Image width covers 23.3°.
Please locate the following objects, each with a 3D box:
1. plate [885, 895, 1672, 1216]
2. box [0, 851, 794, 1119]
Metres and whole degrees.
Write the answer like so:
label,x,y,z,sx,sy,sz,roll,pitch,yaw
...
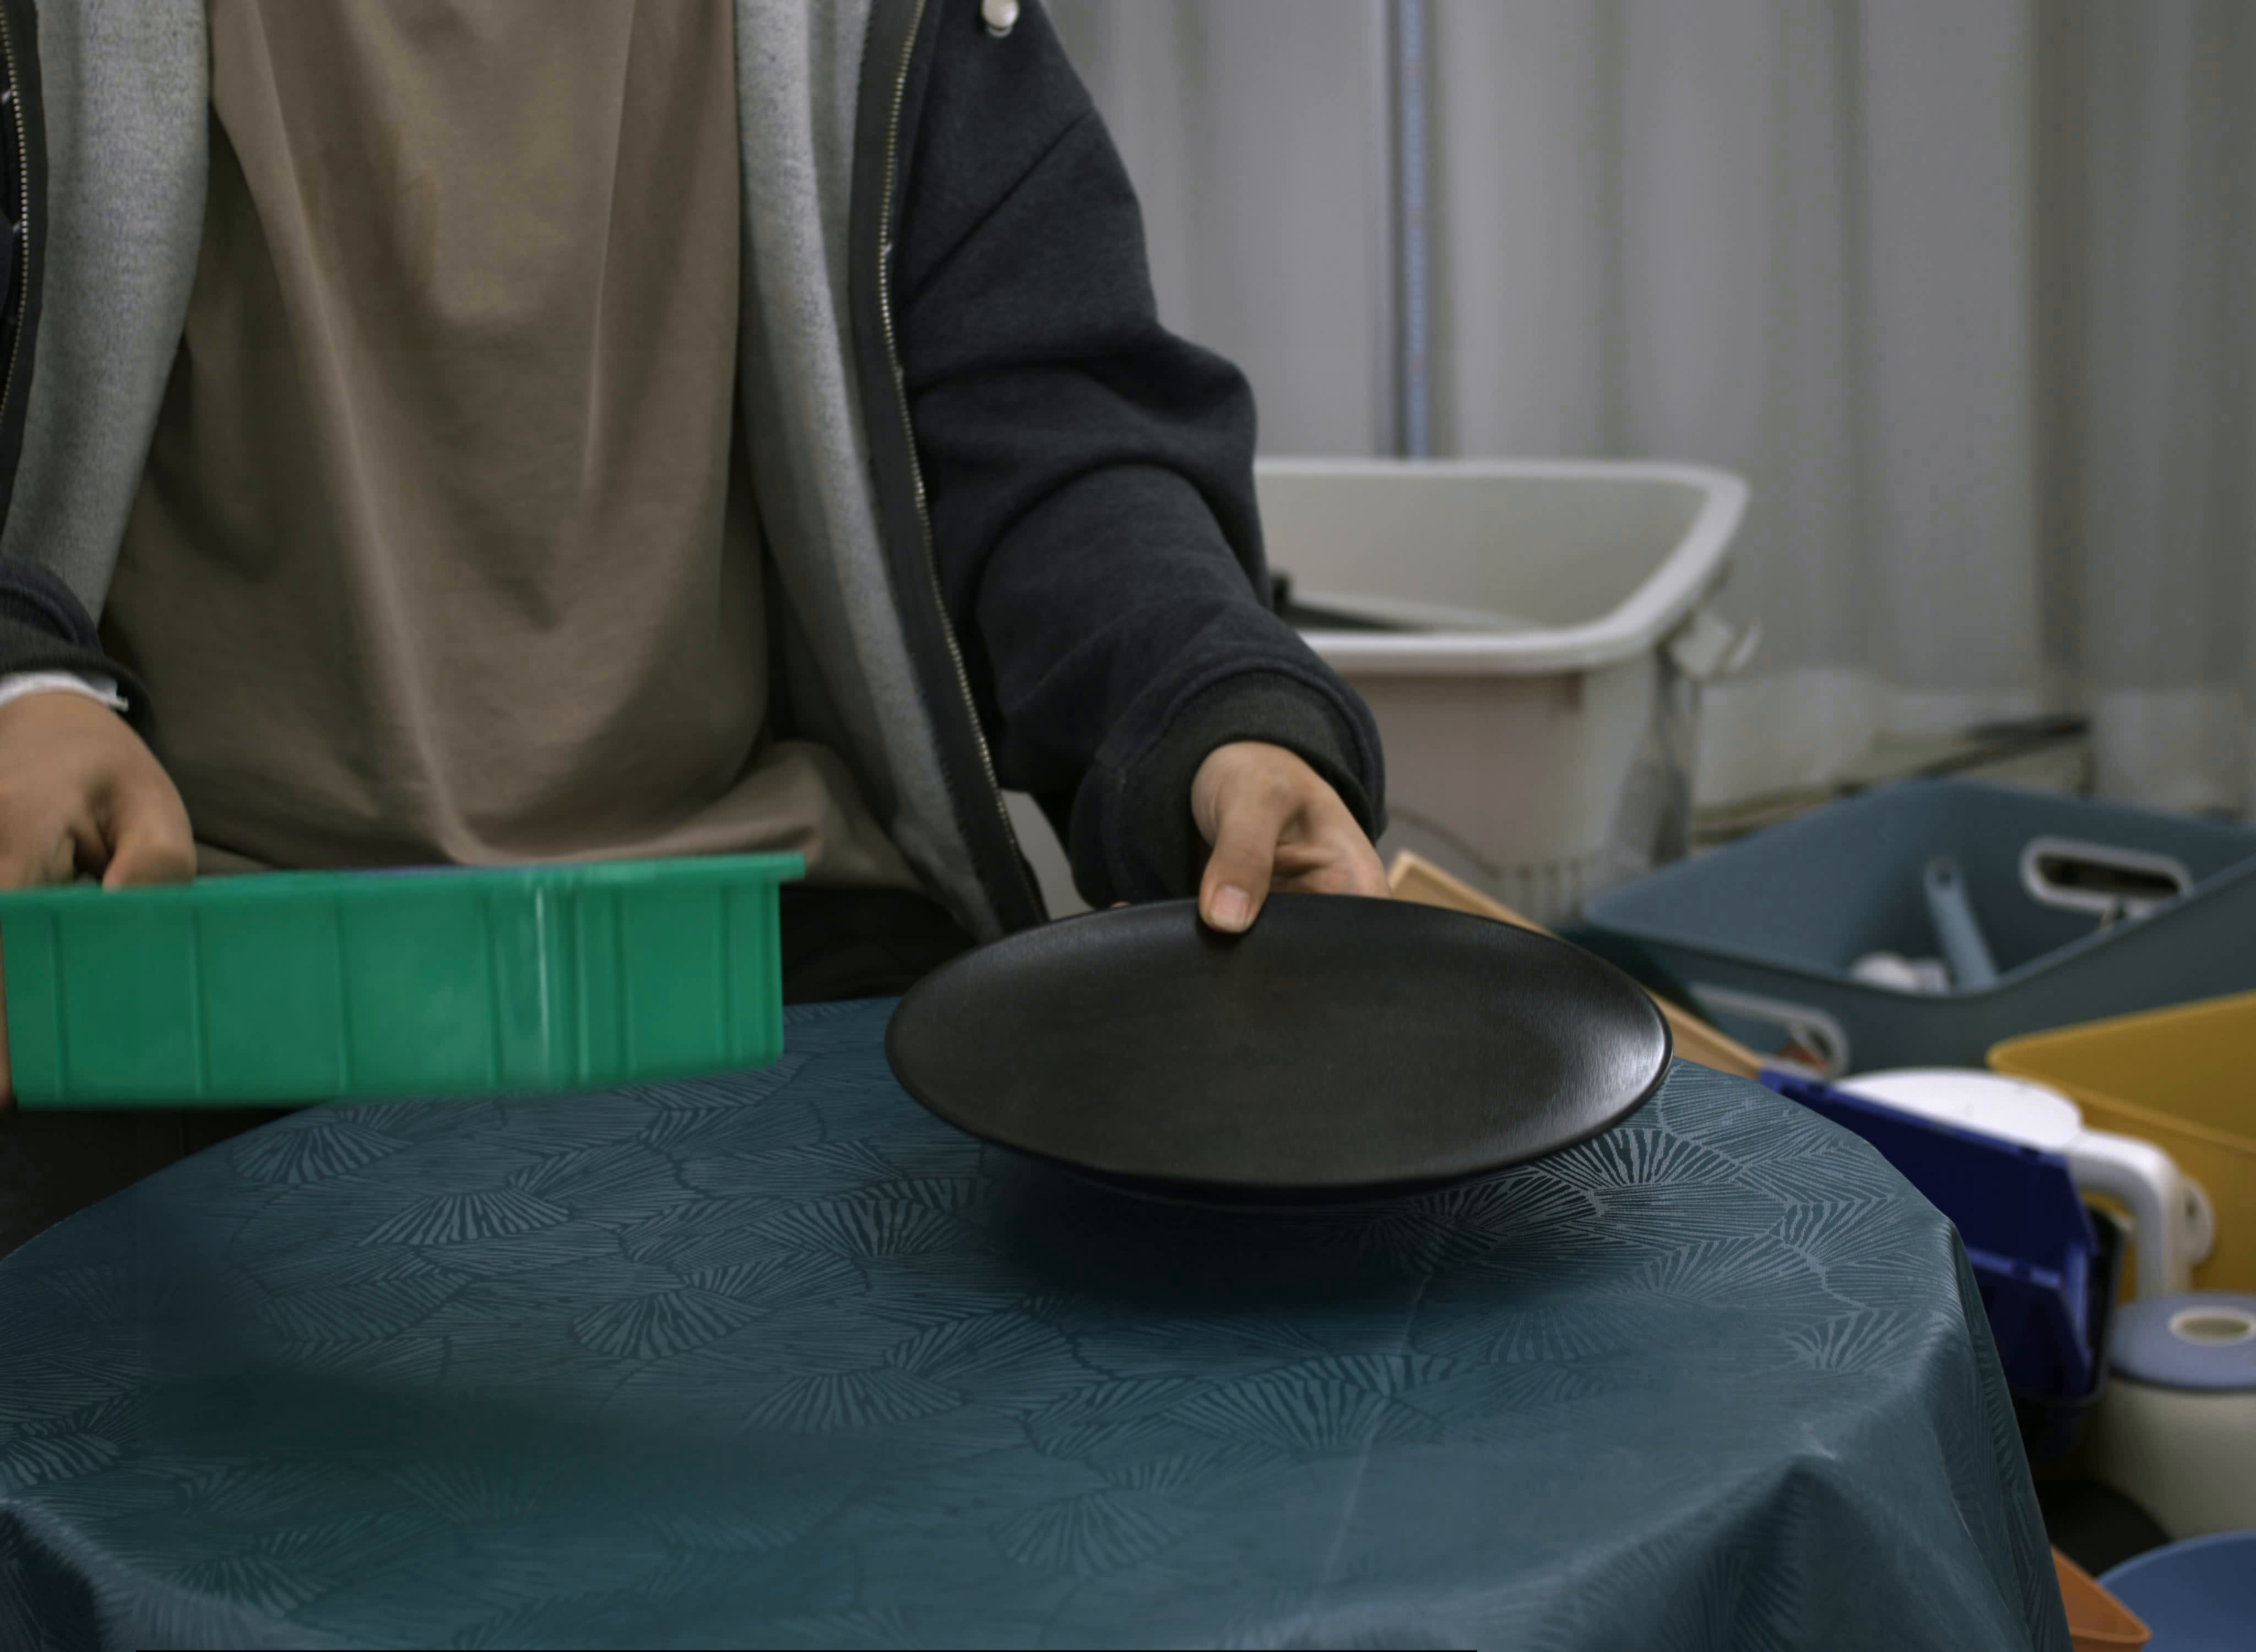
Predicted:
label,x,y,z,sx,sy,sz,roll,pitch,yaw
plate,0.046,0.074,1.695,0.243,0.023,0.246,-1,20,0
box,-0.208,0.045,1.534,0.210,0.065,0.138,-5,-2,26
